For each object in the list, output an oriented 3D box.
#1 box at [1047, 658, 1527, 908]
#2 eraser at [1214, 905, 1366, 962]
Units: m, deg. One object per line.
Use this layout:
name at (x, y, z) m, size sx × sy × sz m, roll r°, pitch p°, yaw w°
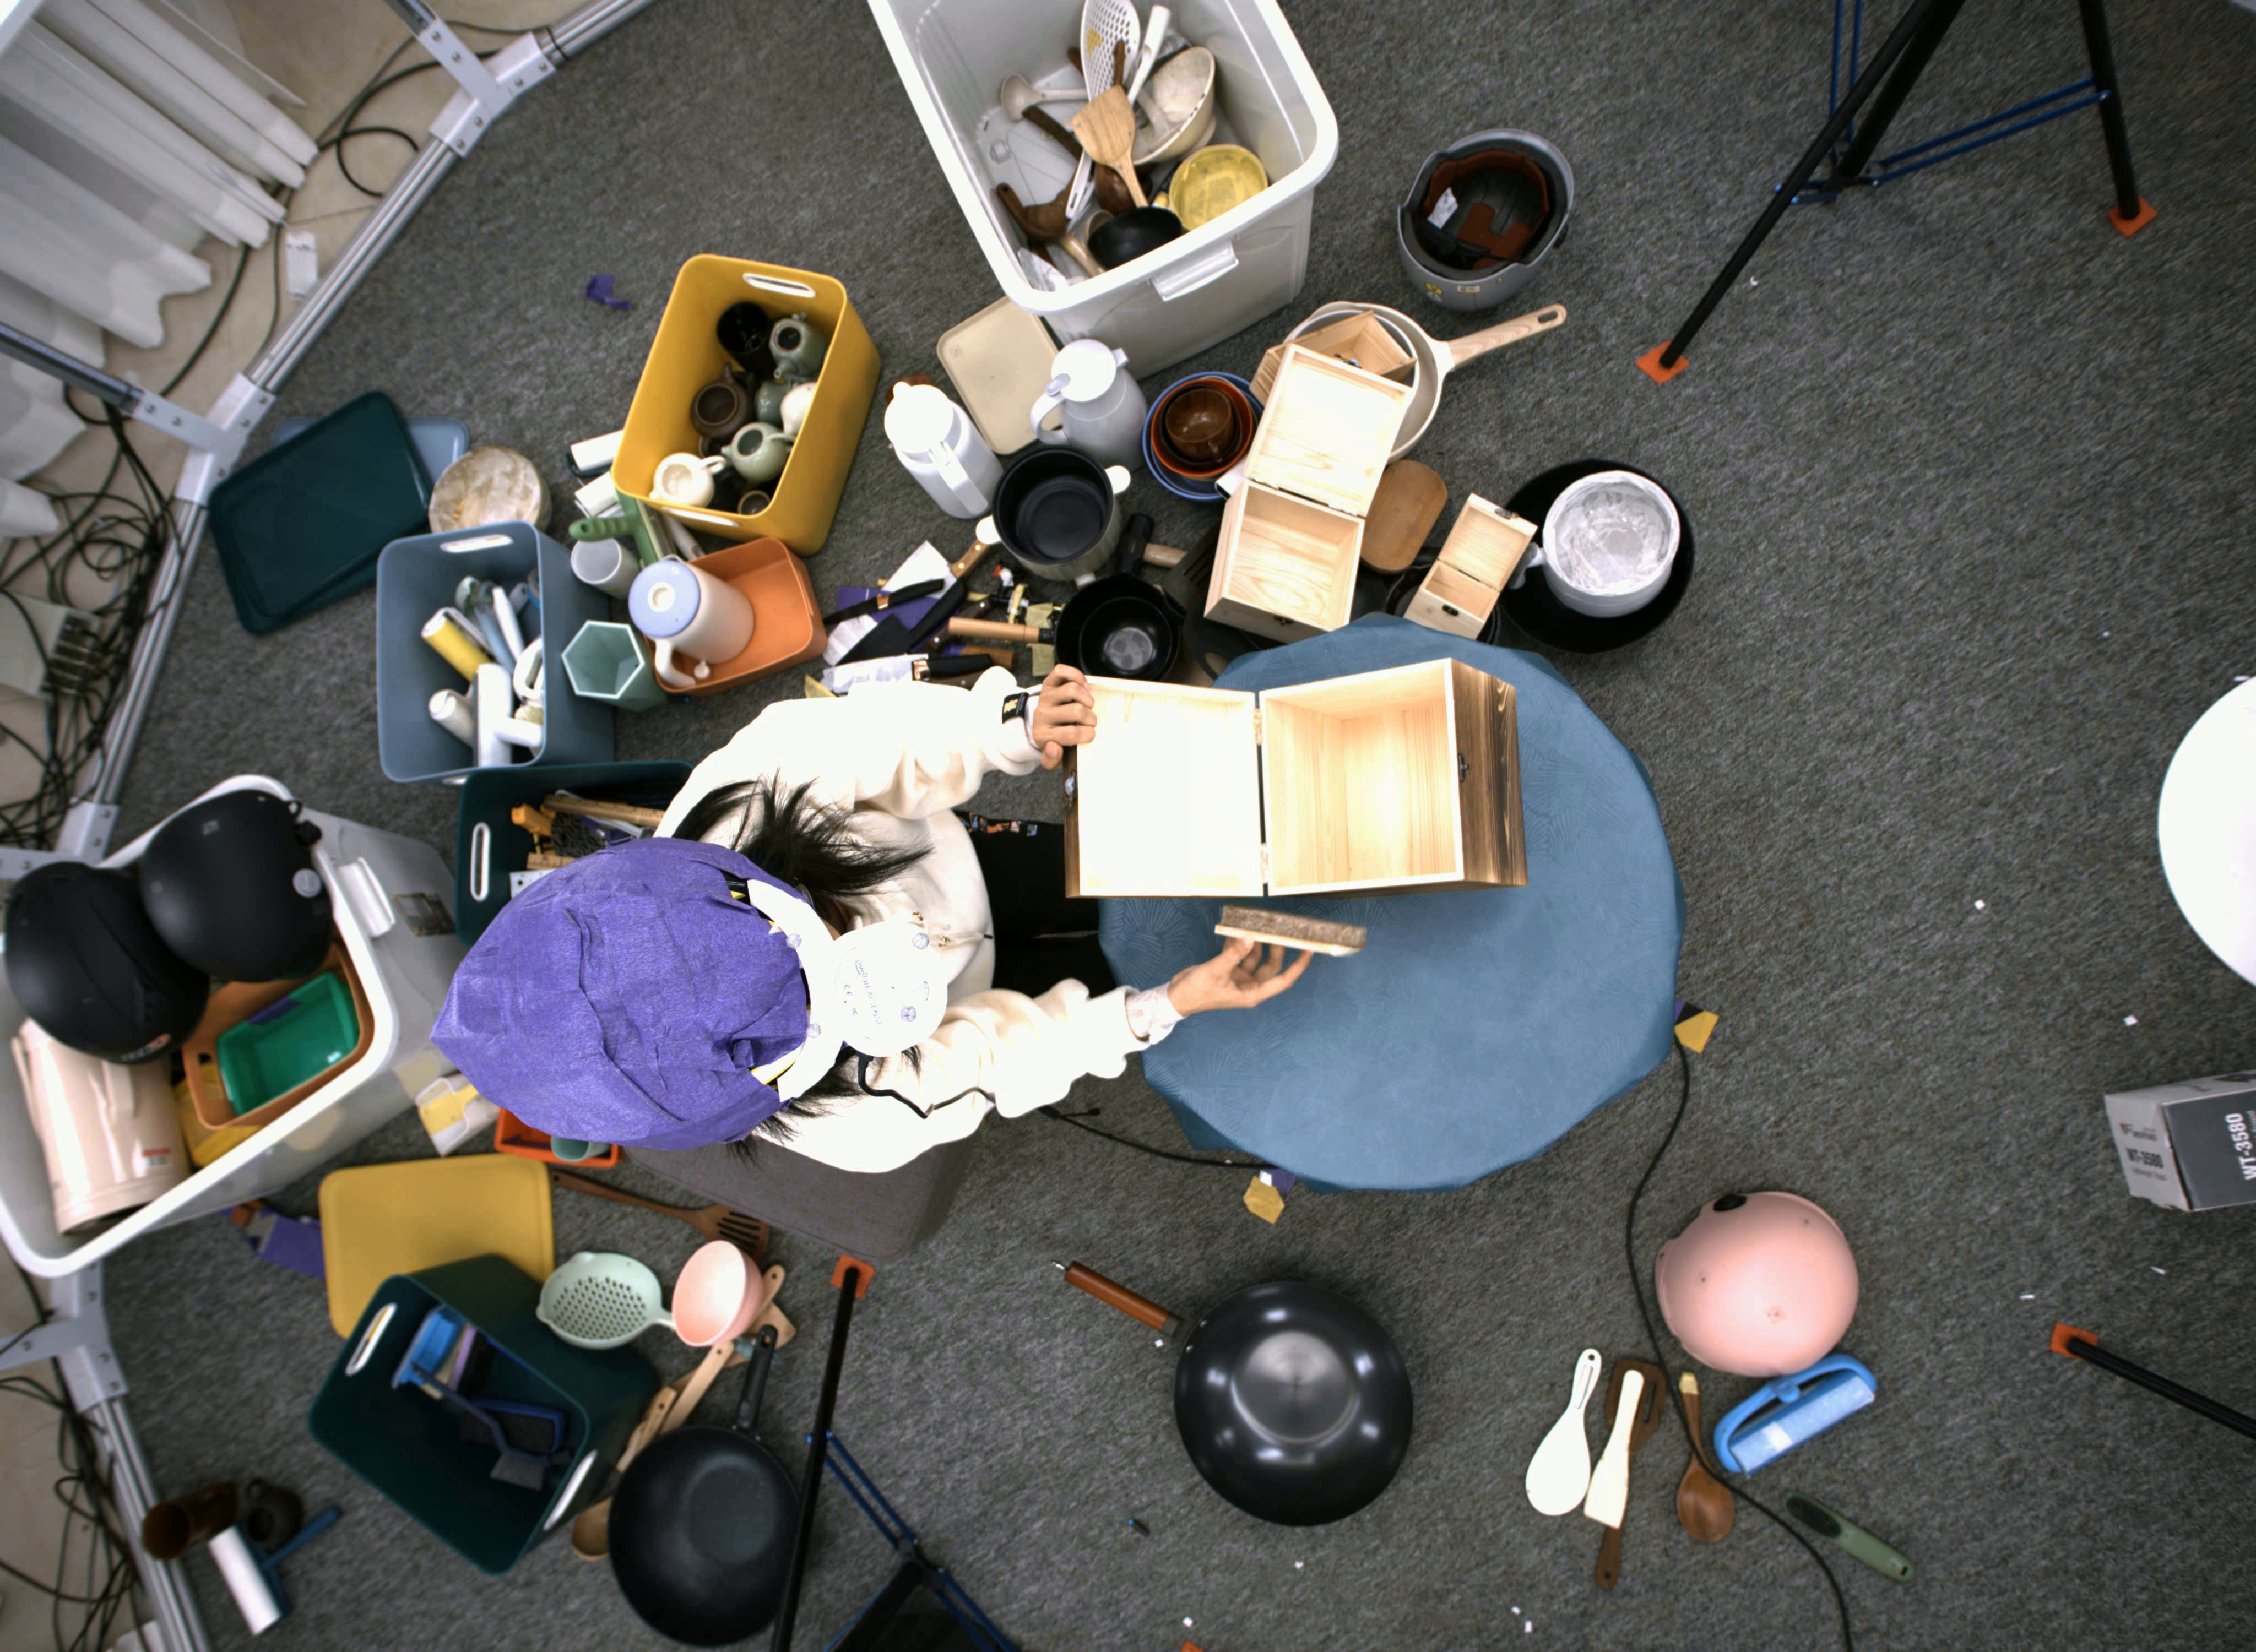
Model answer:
box at (0.163, -0.036, 1.298) m, size 0.325 × 0.373 × 0.207 m, roll -7°, pitch 84°, yaw 35°
eraser at (0.159, 0.102, 1.340) m, size 0.139 × 0.057 × 0.029 m, roll 11°, pitch 94°, yaw 22°
